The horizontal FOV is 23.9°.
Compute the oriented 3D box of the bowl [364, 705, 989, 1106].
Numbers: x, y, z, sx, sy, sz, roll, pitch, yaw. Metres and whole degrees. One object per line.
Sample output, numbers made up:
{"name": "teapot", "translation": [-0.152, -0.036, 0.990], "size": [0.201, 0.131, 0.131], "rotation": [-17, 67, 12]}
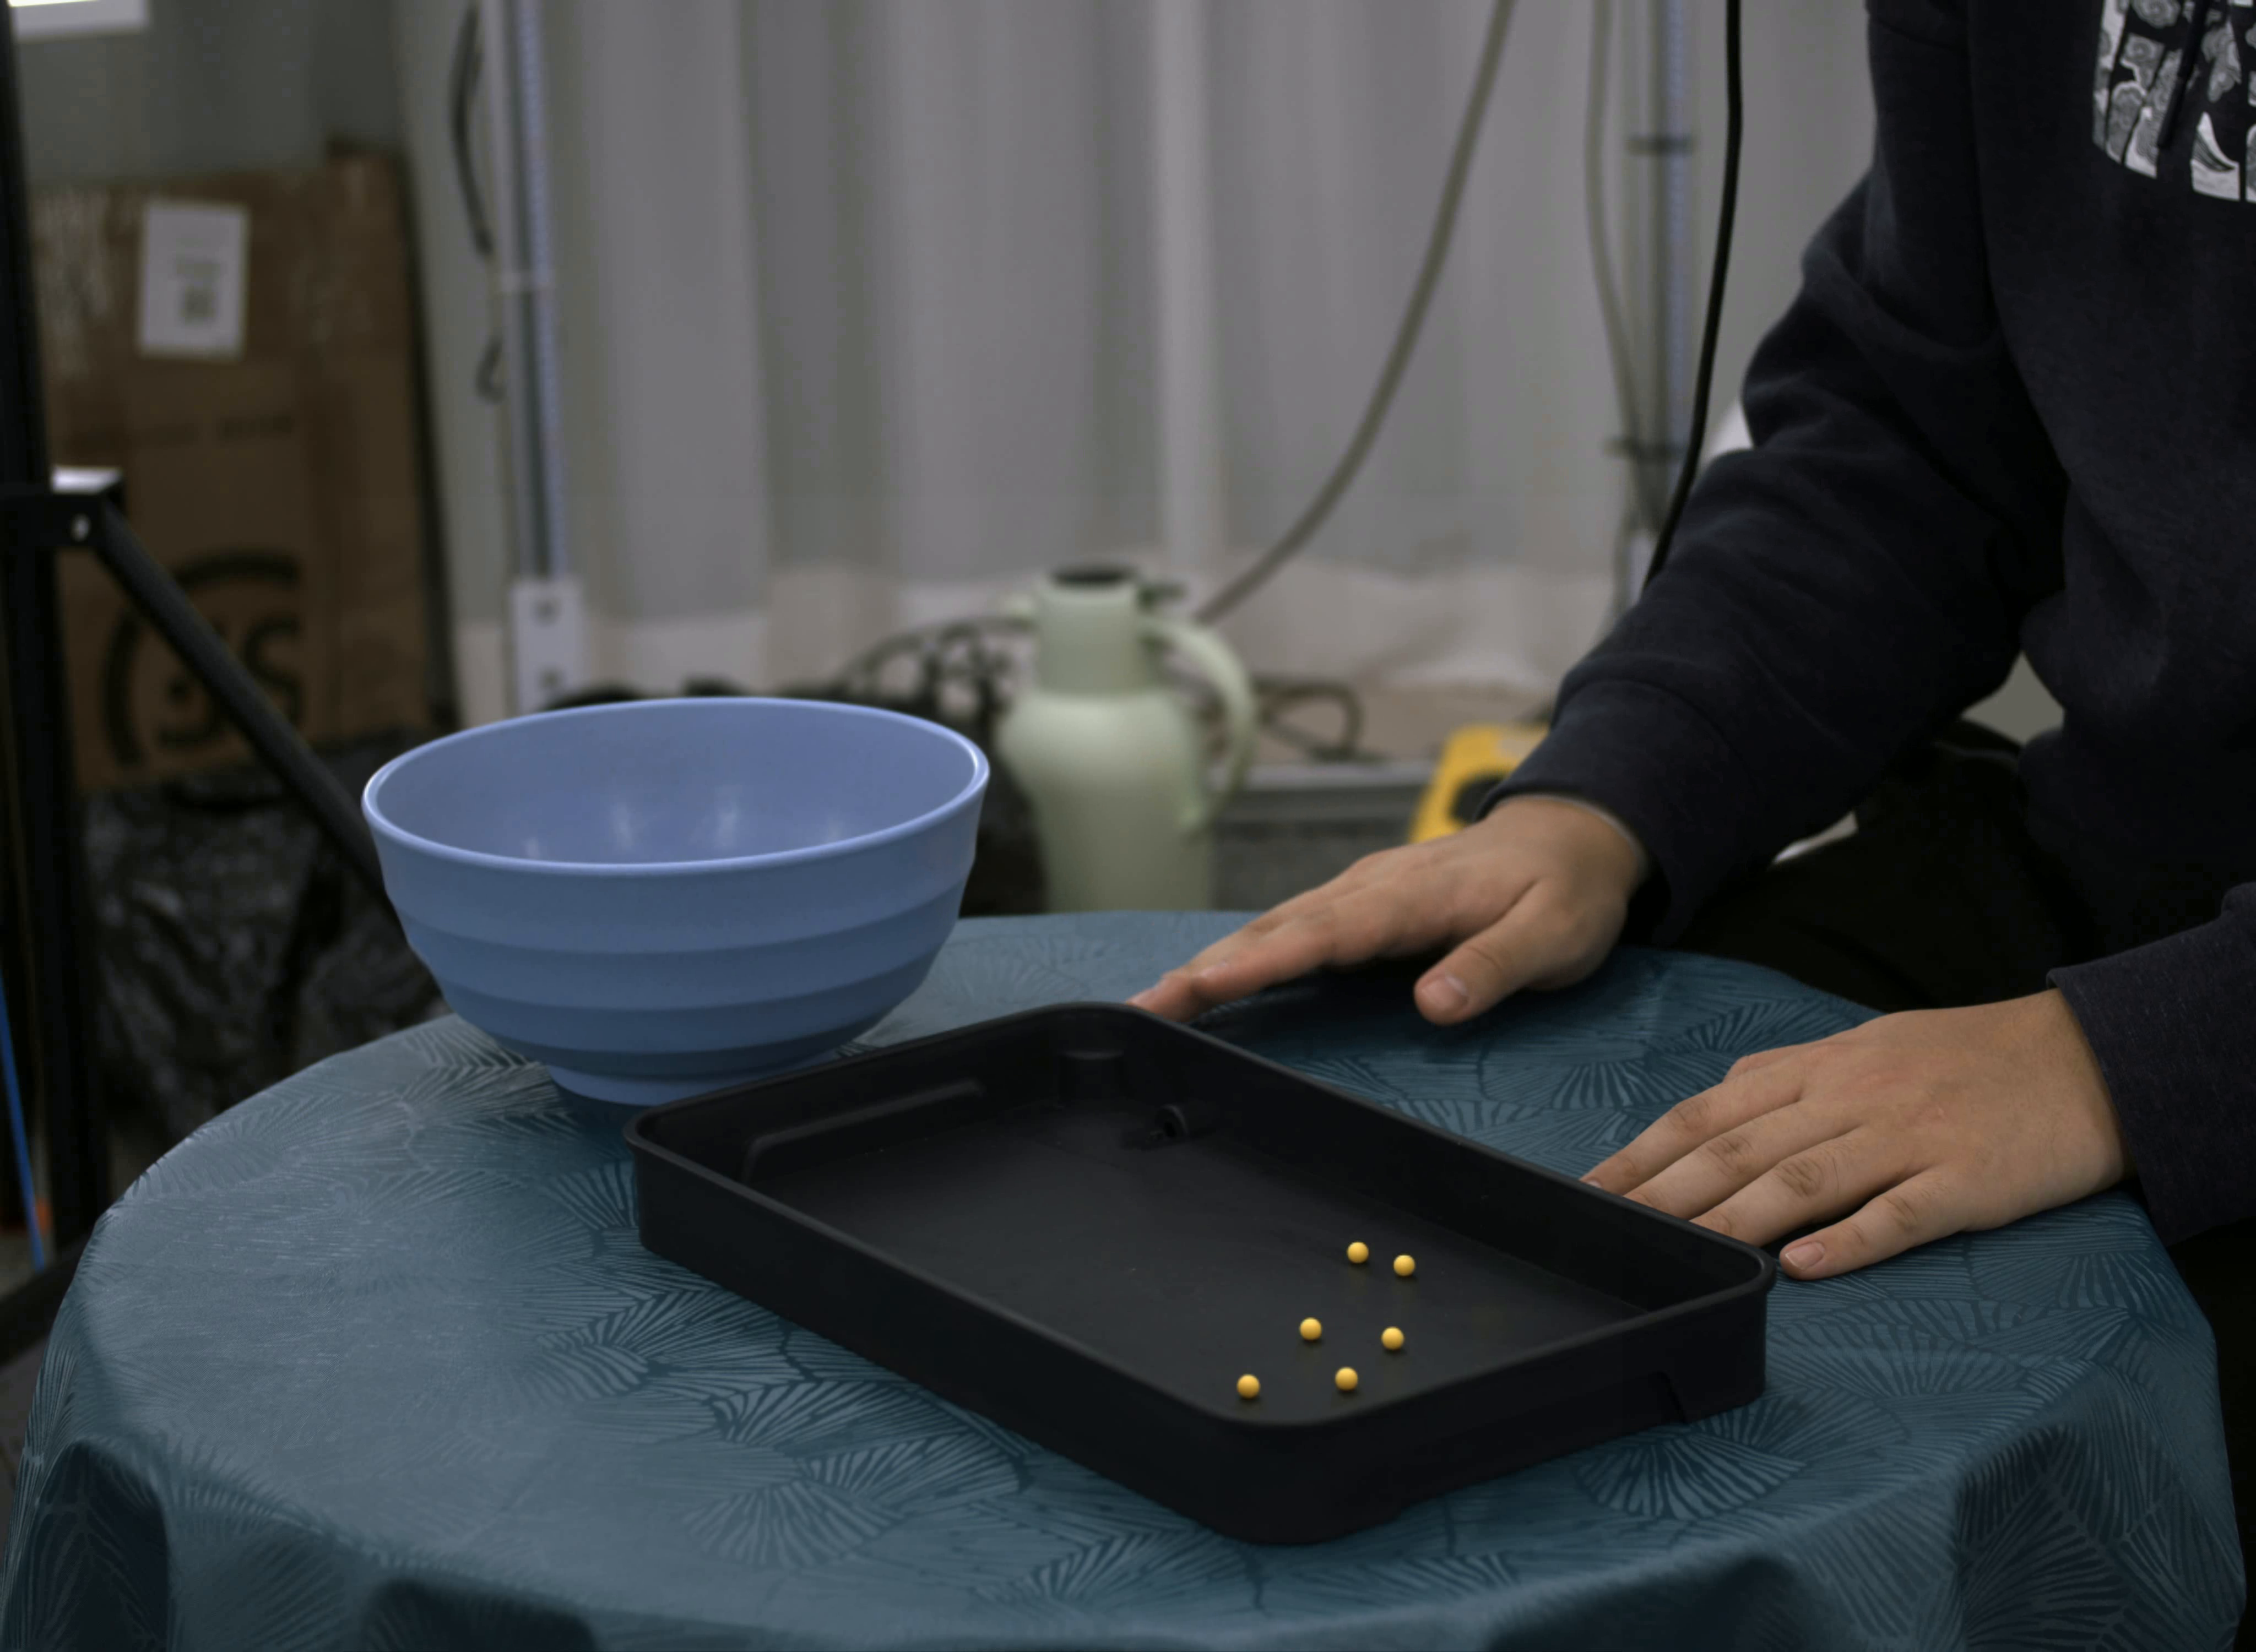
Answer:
{"name": "bowl", "translation": [-0.139, 0.029, 1.682], "size": [0.195, 0.095, 0.197], "rotation": [-3, 15, -1]}

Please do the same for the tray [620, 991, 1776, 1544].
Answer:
{"name": "tray", "translation": [0.013, 0.115, 1.462], "size": [0.180, 0.037, 0.325], "rotation": [-13, 19, -33]}
